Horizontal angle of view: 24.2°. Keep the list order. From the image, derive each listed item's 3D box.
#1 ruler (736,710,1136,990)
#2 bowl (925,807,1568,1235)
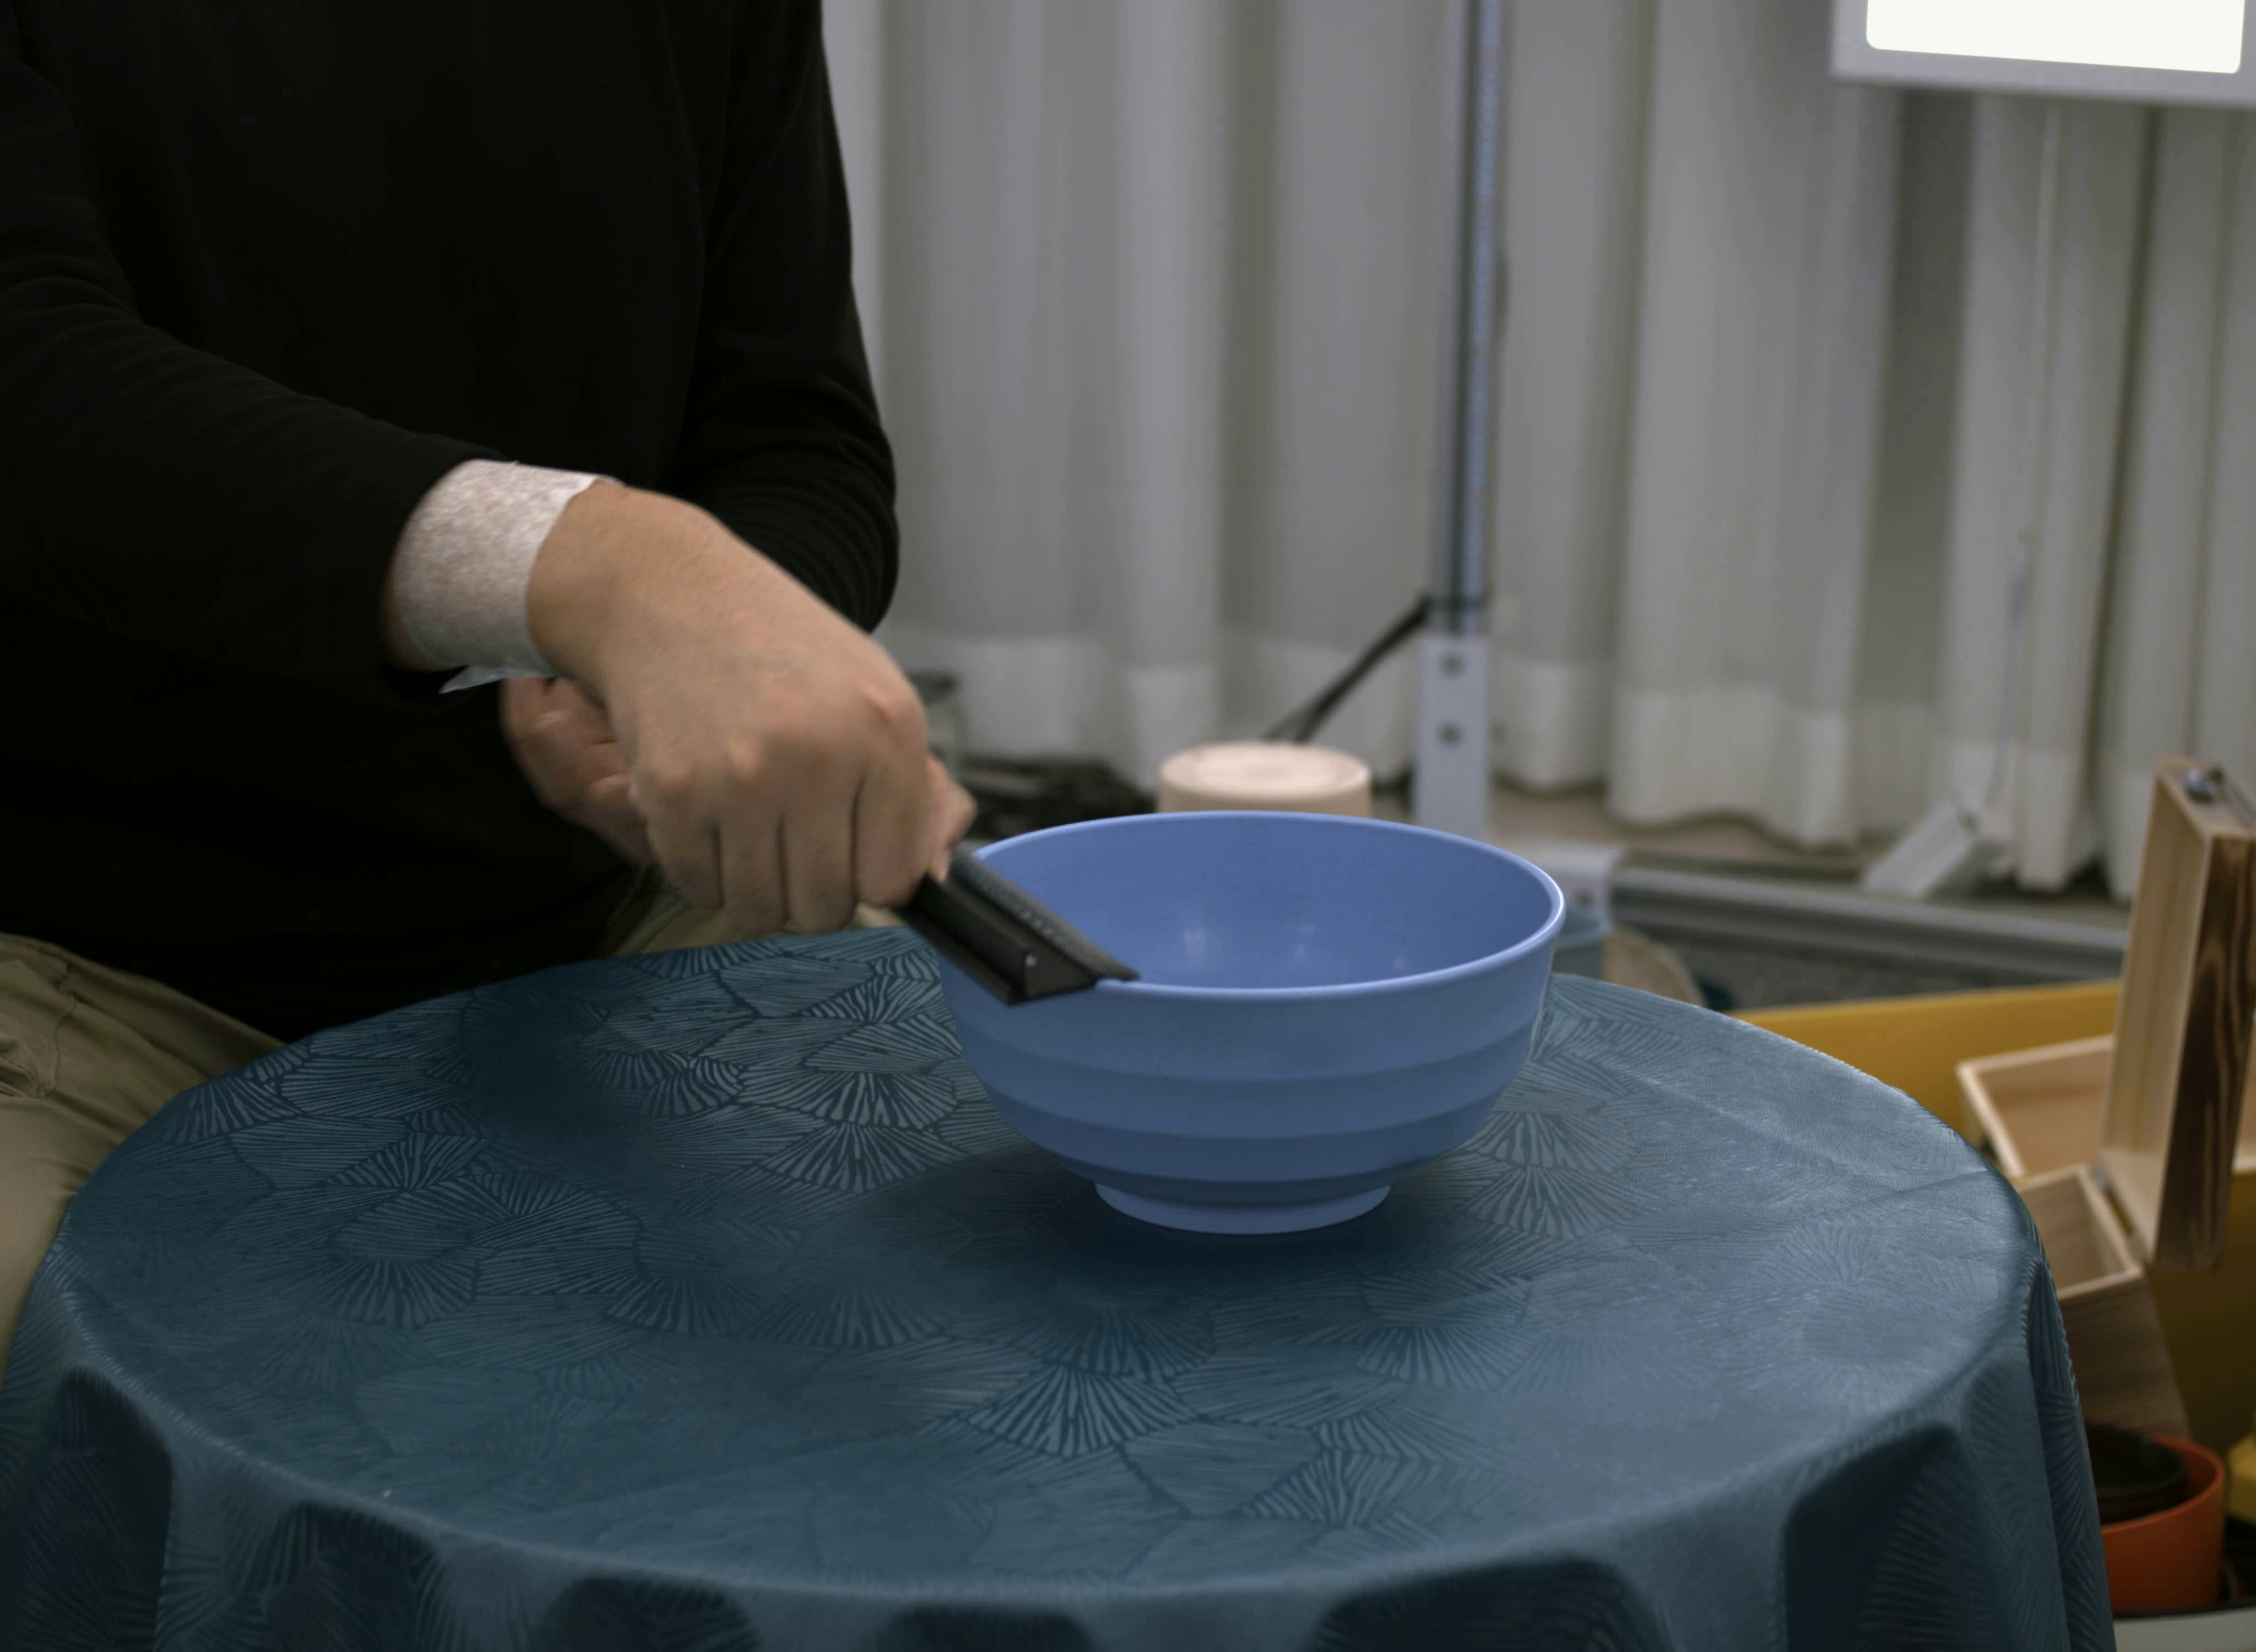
[{"bbox_3d":[-0.060,0.001,1.525,0.039,0.017,0.309,-7,14,-17],"label":"ruler"},{"bbox_3d":[0.035,0.065,1.612,0.196,0.096,0.195,1,16,0],"label":"bowl"}]
